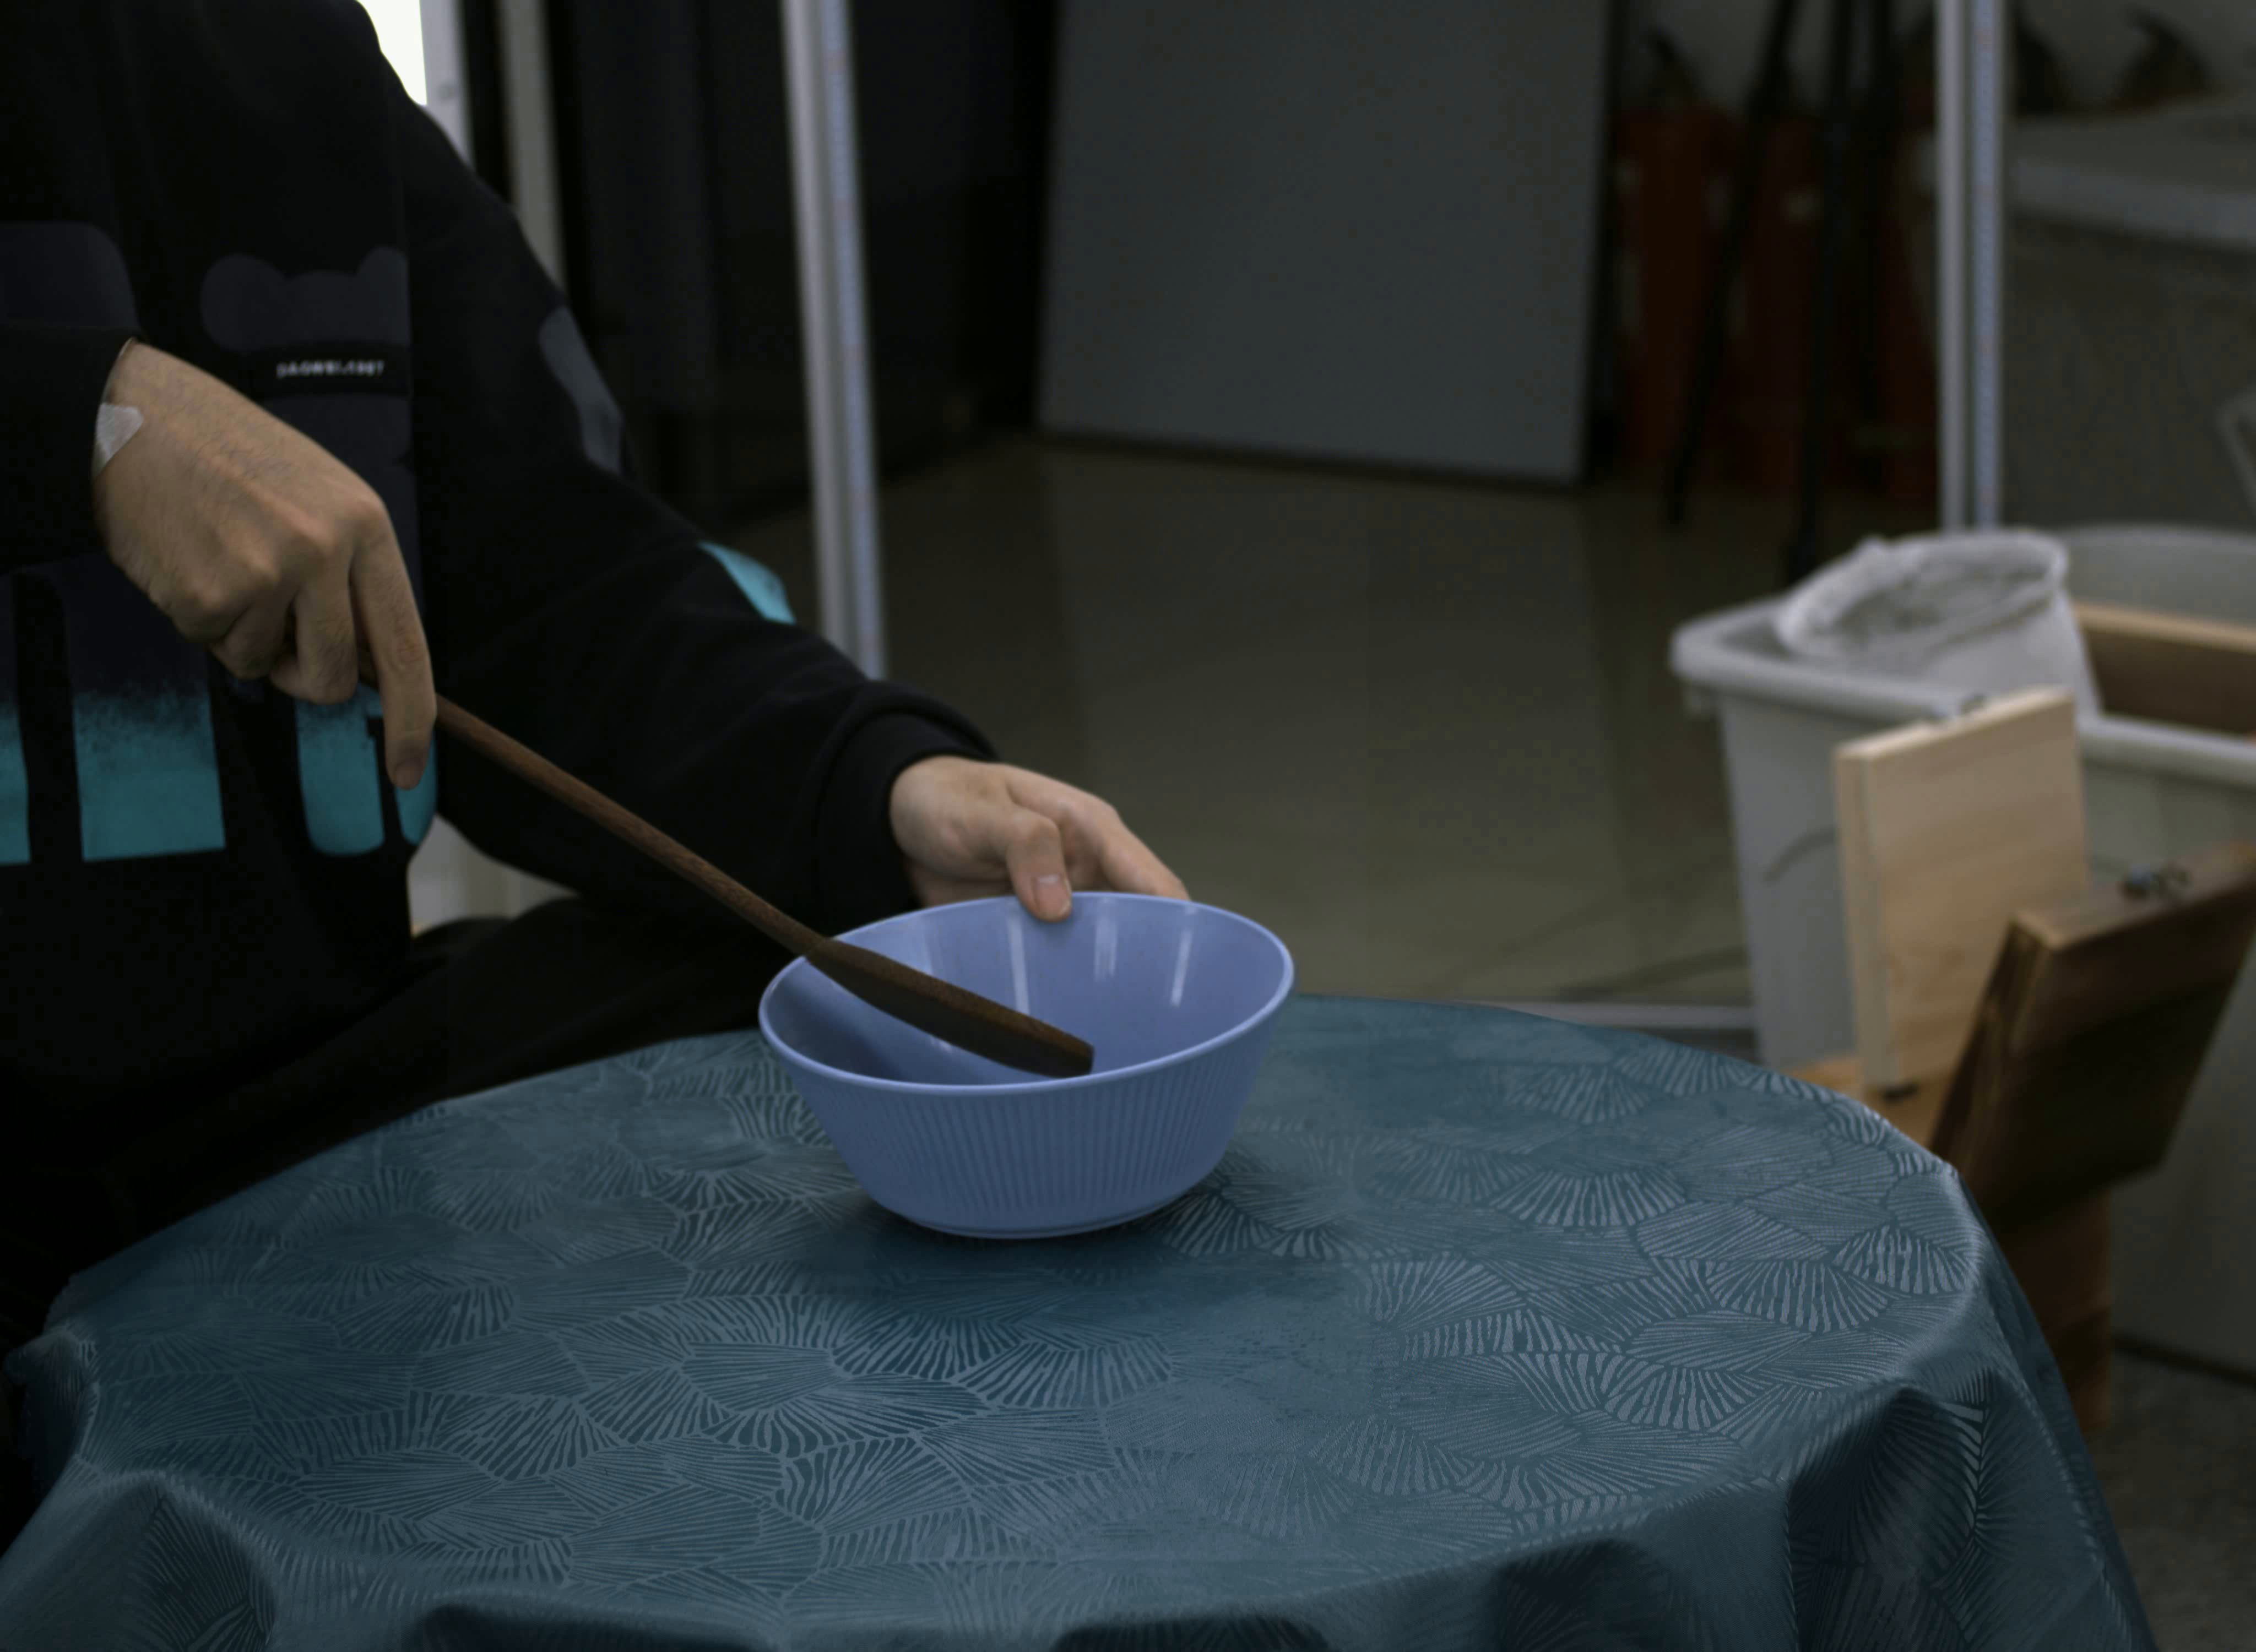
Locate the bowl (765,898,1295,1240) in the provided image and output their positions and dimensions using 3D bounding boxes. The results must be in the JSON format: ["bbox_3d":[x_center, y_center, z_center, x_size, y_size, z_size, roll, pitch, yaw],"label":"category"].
[{"bbox_3d":[-0.029,0.083,1.755,0.174,0.071,0.176,-6,17,1],"label":"bowl"}]

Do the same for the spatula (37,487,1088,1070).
[{"bbox_3d":[-0.180,-0.011,1.747,0.382,0.016,0.096,31,-11,-4],"label":"spatula"}]
